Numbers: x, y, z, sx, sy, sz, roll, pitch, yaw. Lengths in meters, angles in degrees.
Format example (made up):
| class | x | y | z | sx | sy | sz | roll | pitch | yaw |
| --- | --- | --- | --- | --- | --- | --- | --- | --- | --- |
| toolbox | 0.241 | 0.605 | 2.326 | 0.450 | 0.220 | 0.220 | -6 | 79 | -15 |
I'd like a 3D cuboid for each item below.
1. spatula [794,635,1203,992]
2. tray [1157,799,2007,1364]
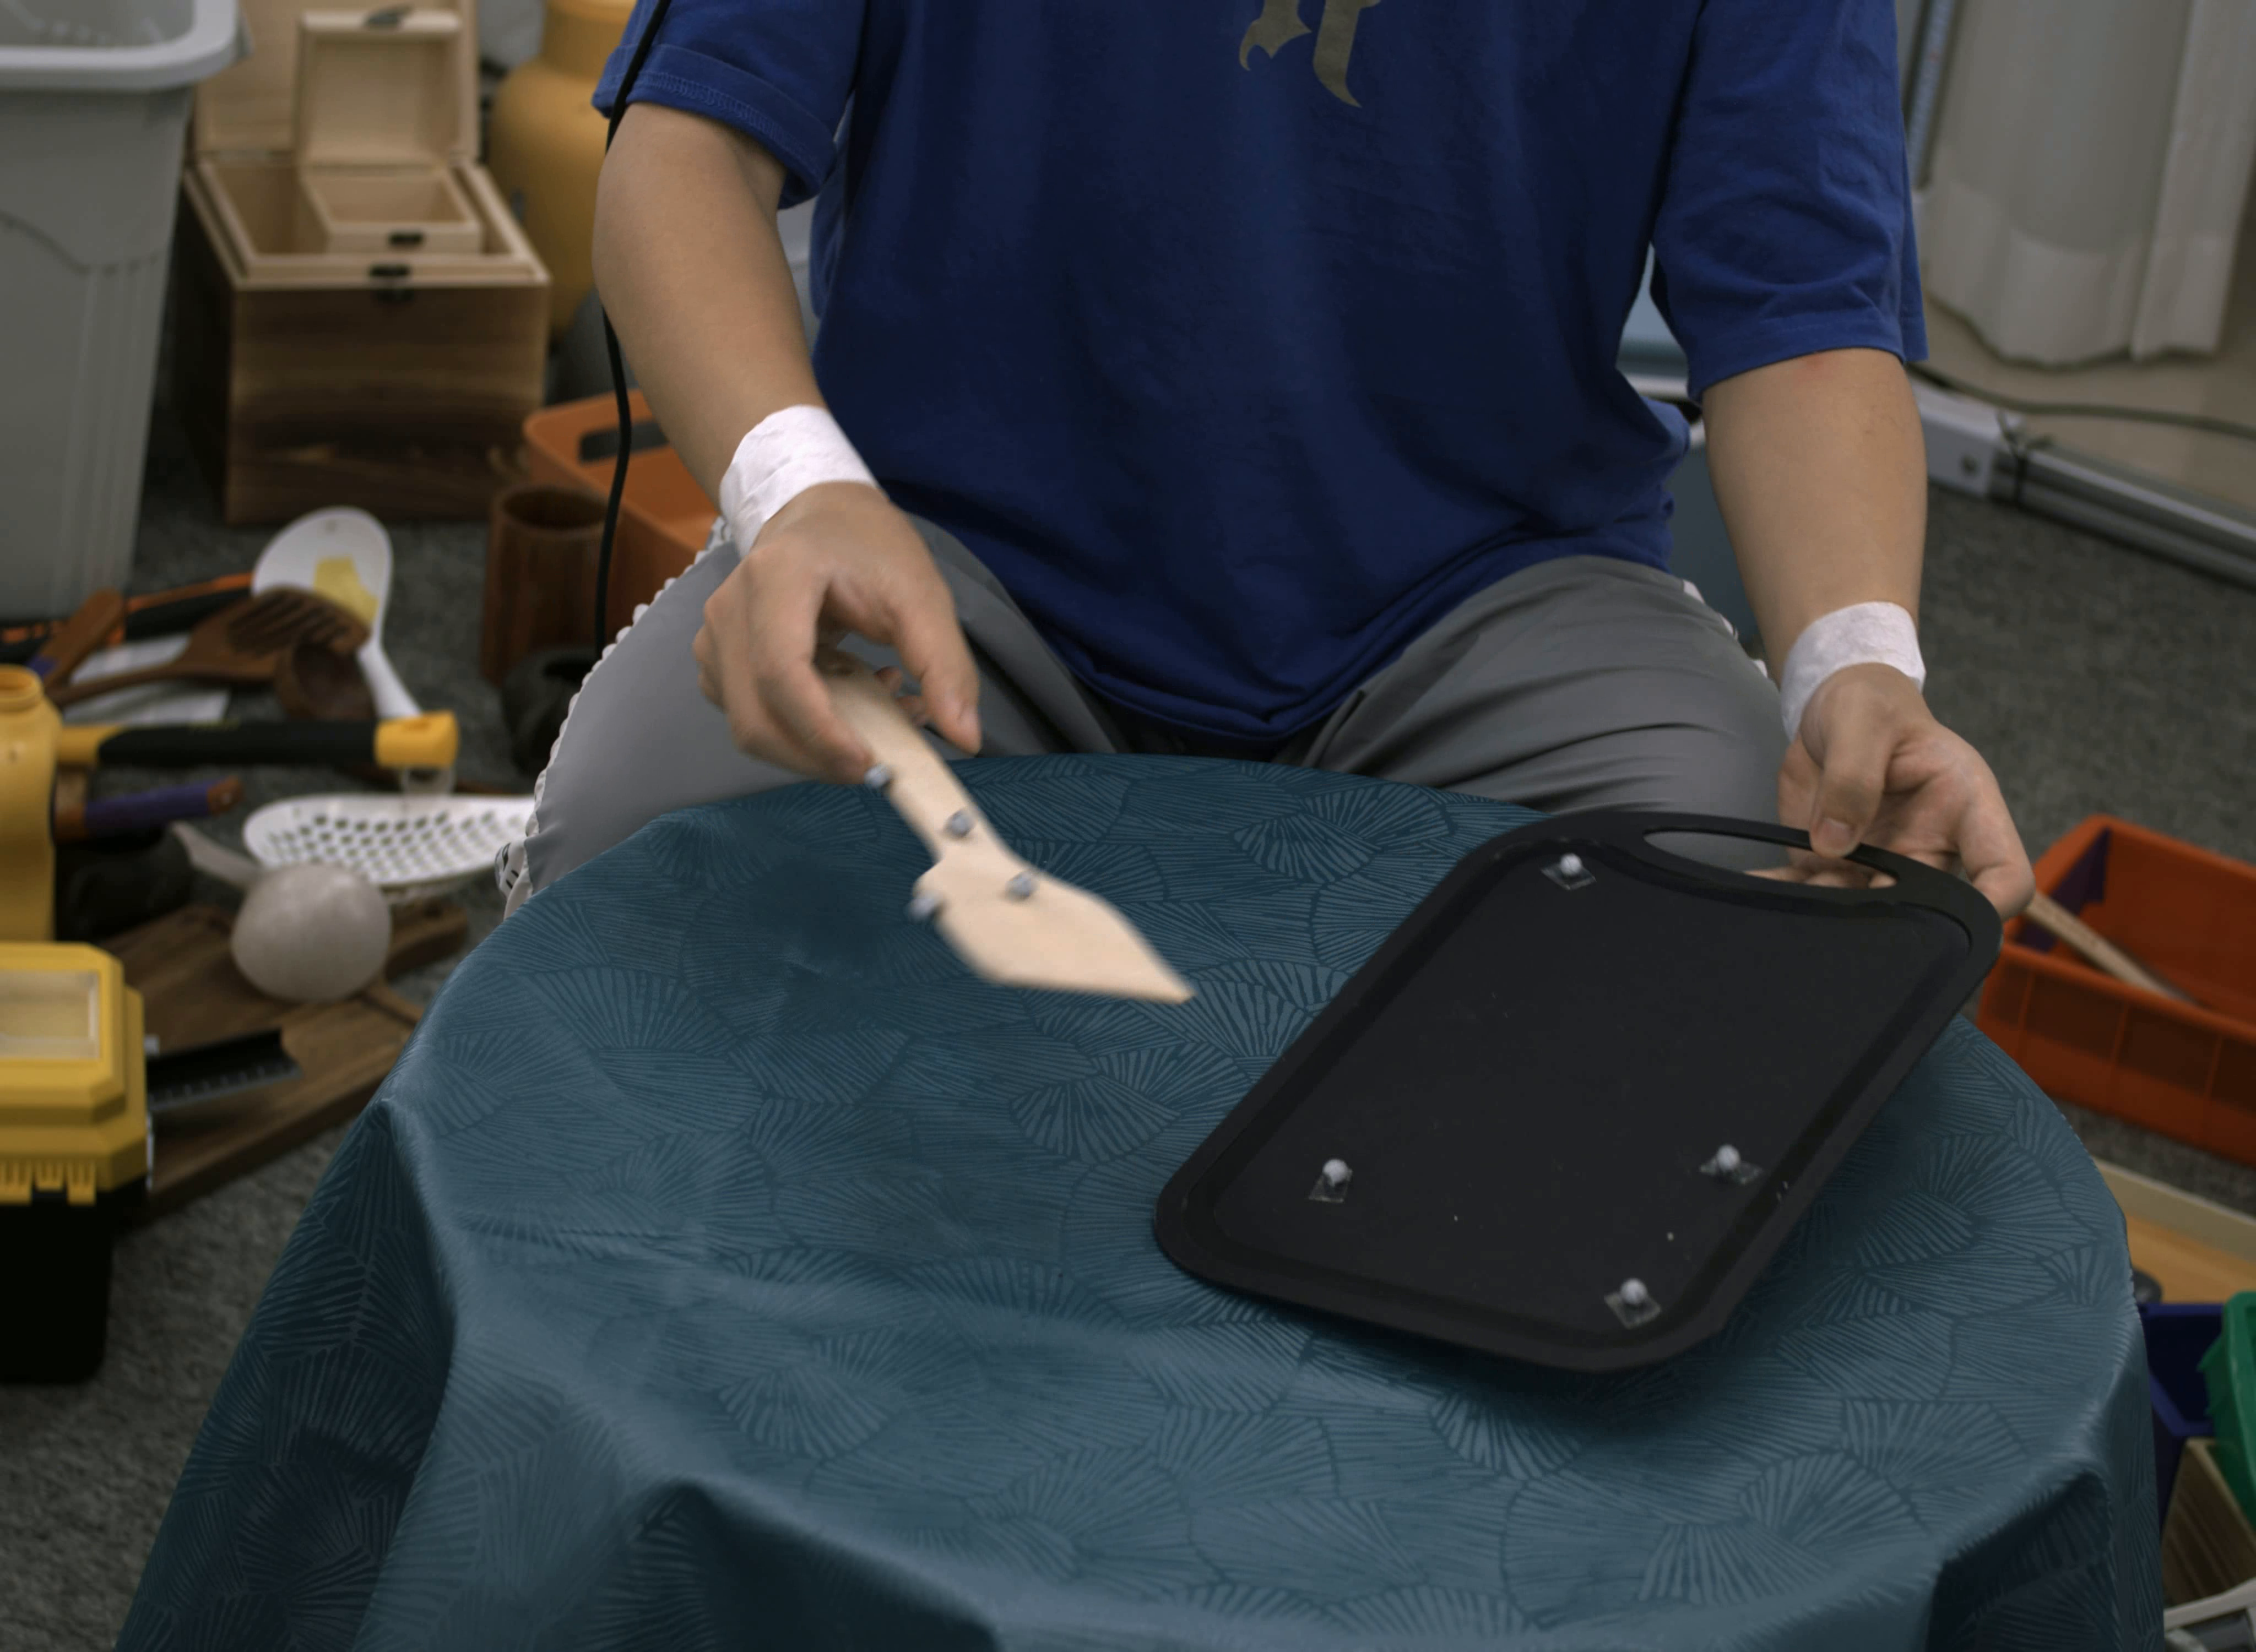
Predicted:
| class | x | y | z | sx | sy | sz | roll | pitch | yaw |
| --- | --- | --- | --- | --- | --- | --- | --- | --- | --- |
| spatula | -0.060 | -0.008 | 1.831 | 0.071 | 0.010 | 0.295 | 8 | 20 | -27 |
| tray | 0.162 | 0.076 | 1.832 | 0.212 | 0.010 | 0.325 | 12 | 37 | 30 |
